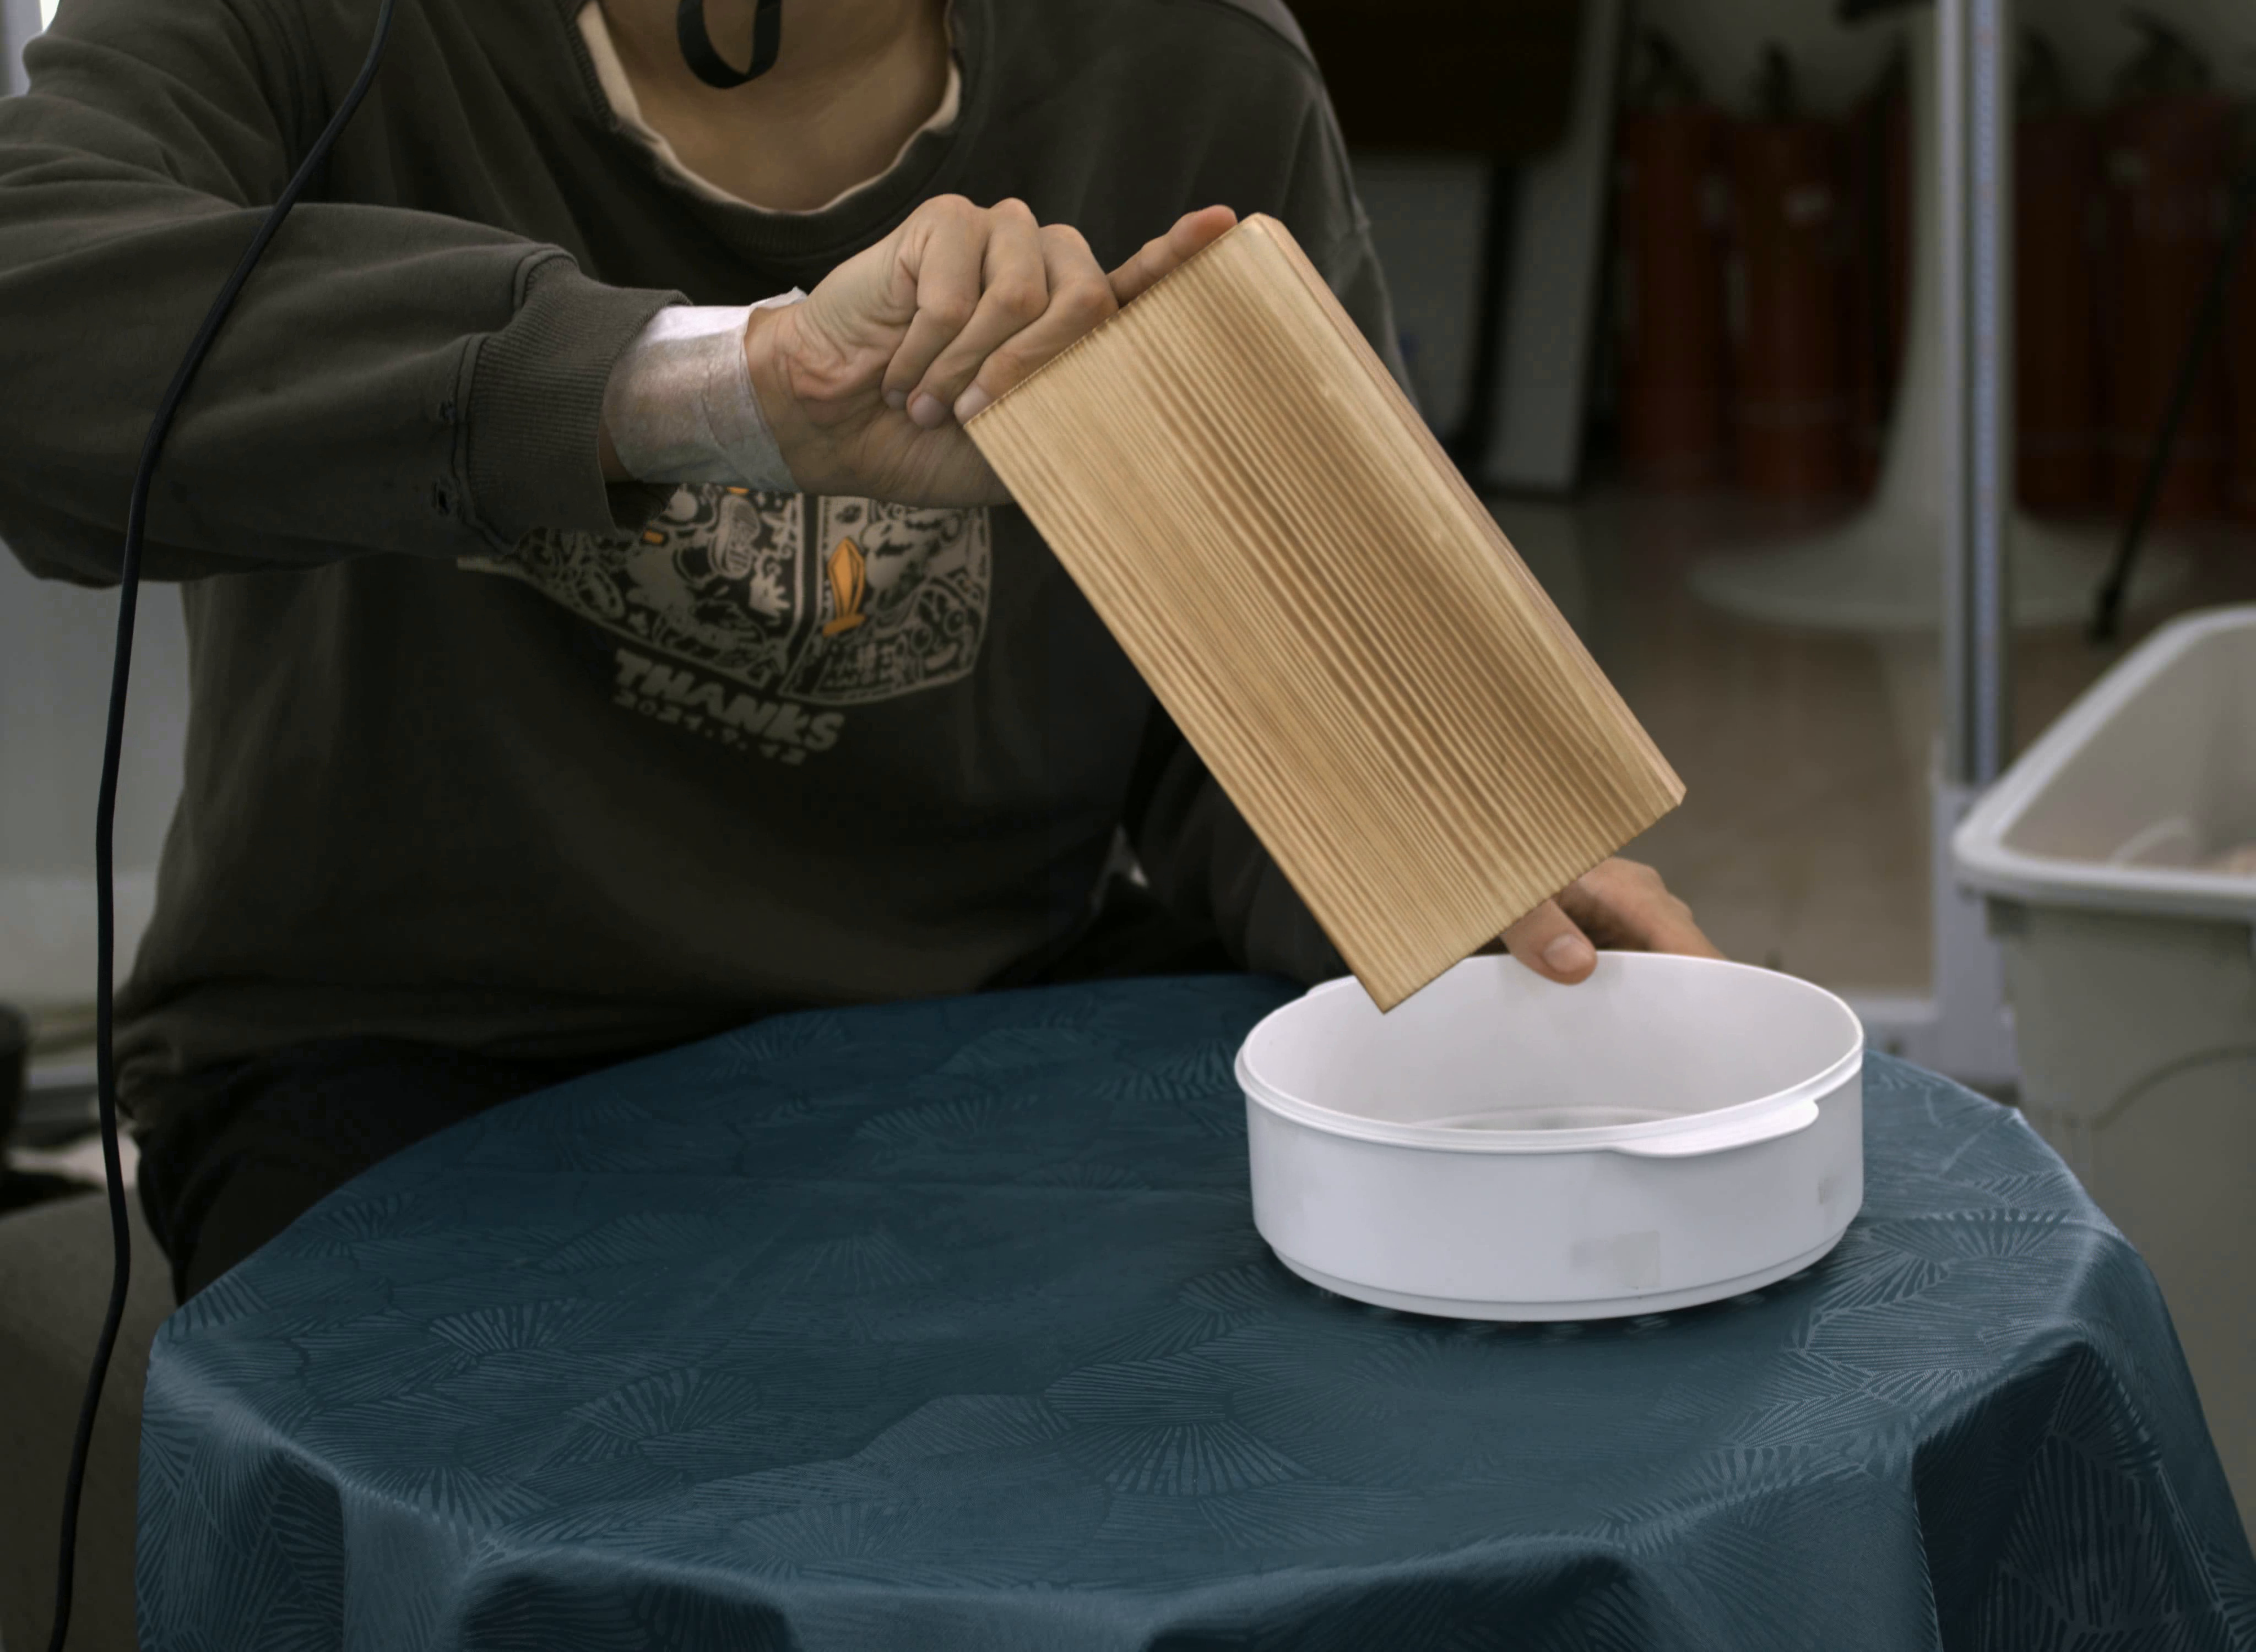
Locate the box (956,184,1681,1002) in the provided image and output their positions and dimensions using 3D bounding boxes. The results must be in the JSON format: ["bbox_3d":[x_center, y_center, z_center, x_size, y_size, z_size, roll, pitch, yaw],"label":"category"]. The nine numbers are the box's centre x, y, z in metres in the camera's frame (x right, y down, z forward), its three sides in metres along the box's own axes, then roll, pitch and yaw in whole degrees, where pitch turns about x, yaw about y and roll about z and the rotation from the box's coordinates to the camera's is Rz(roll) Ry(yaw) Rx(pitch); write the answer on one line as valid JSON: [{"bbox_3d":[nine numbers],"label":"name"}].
[{"bbox_3d":[0.057,-0.068,1.573,0.107,0.212,0.080,-36,-4,8],"label":"box"}]

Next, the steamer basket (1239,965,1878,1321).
[{"bbox_3d":[0.136,0.099,1.684,0.197,0.070,0.233,-10,13,-24],"label":"steamer basket"}]
